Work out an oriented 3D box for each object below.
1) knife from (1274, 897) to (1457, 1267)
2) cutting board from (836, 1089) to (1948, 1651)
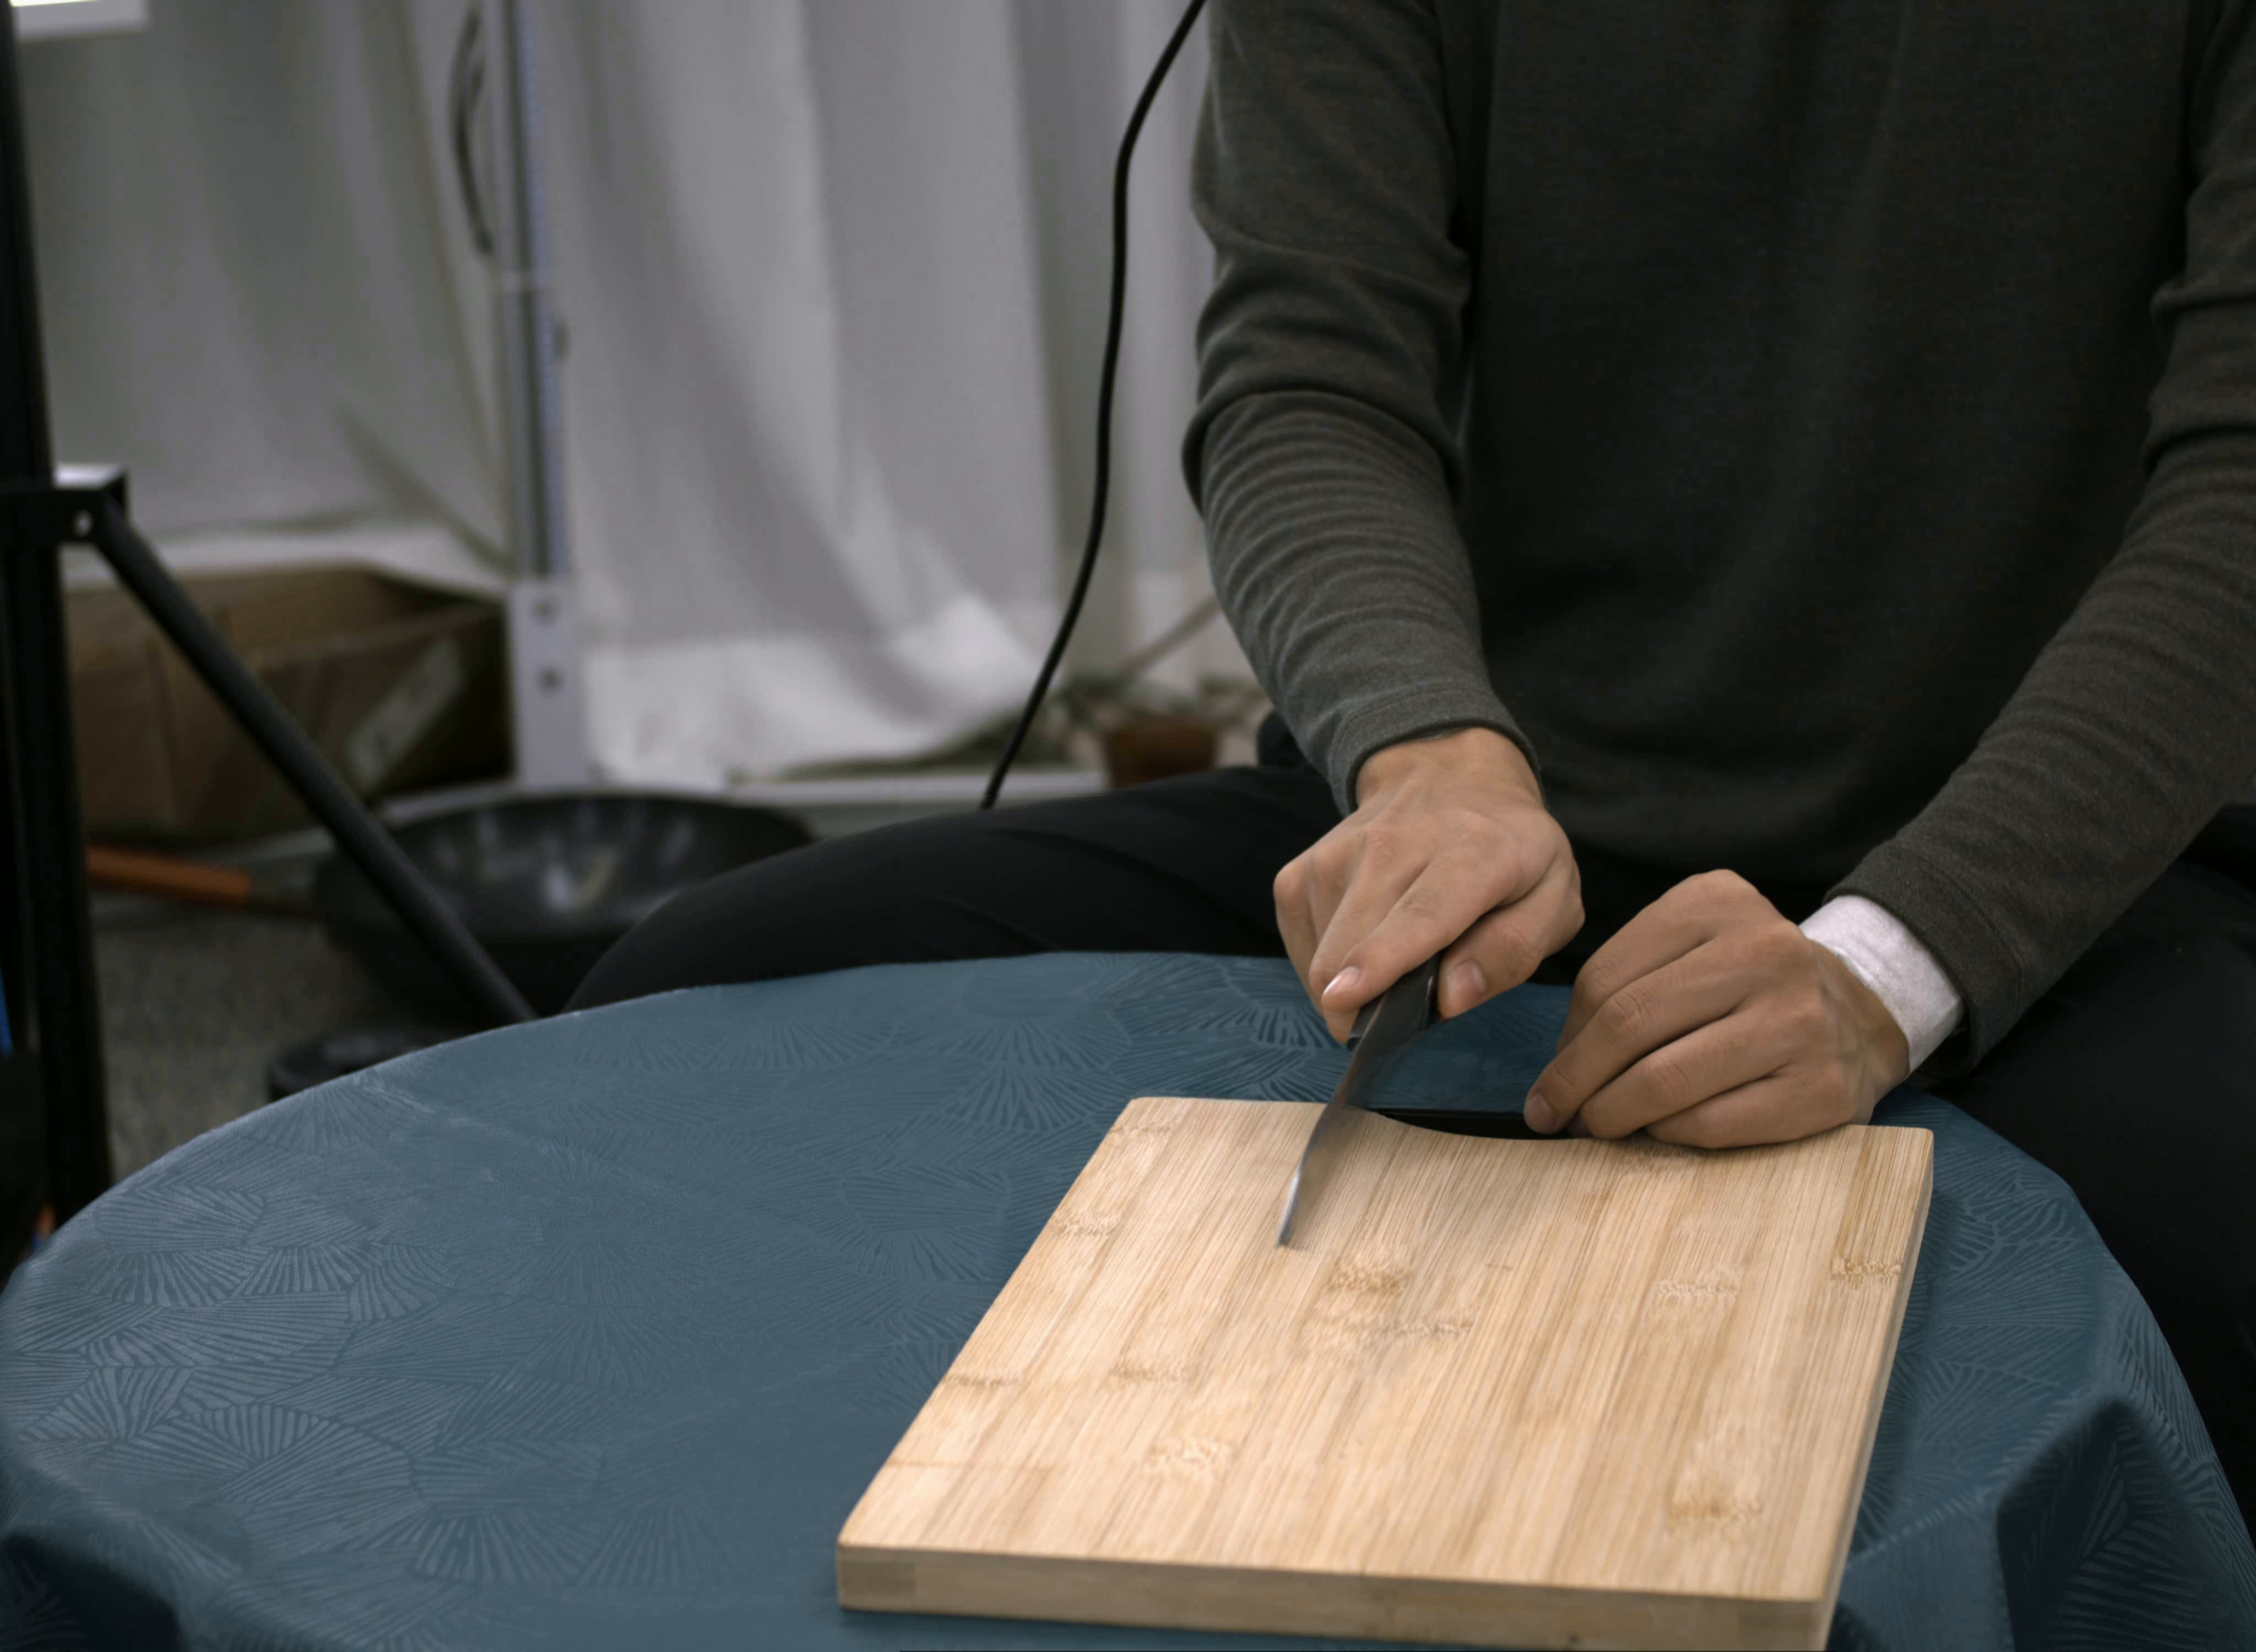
[{"bbox_3d":[0.065,0.067,1.456,0.016,0.024,0.237,6,22,12],"label":"knife"},{"bbox_3d":[0.084,0.139,1.412,0.252,0.023,0.346,2,16,12],"label":"cutting board"}]
